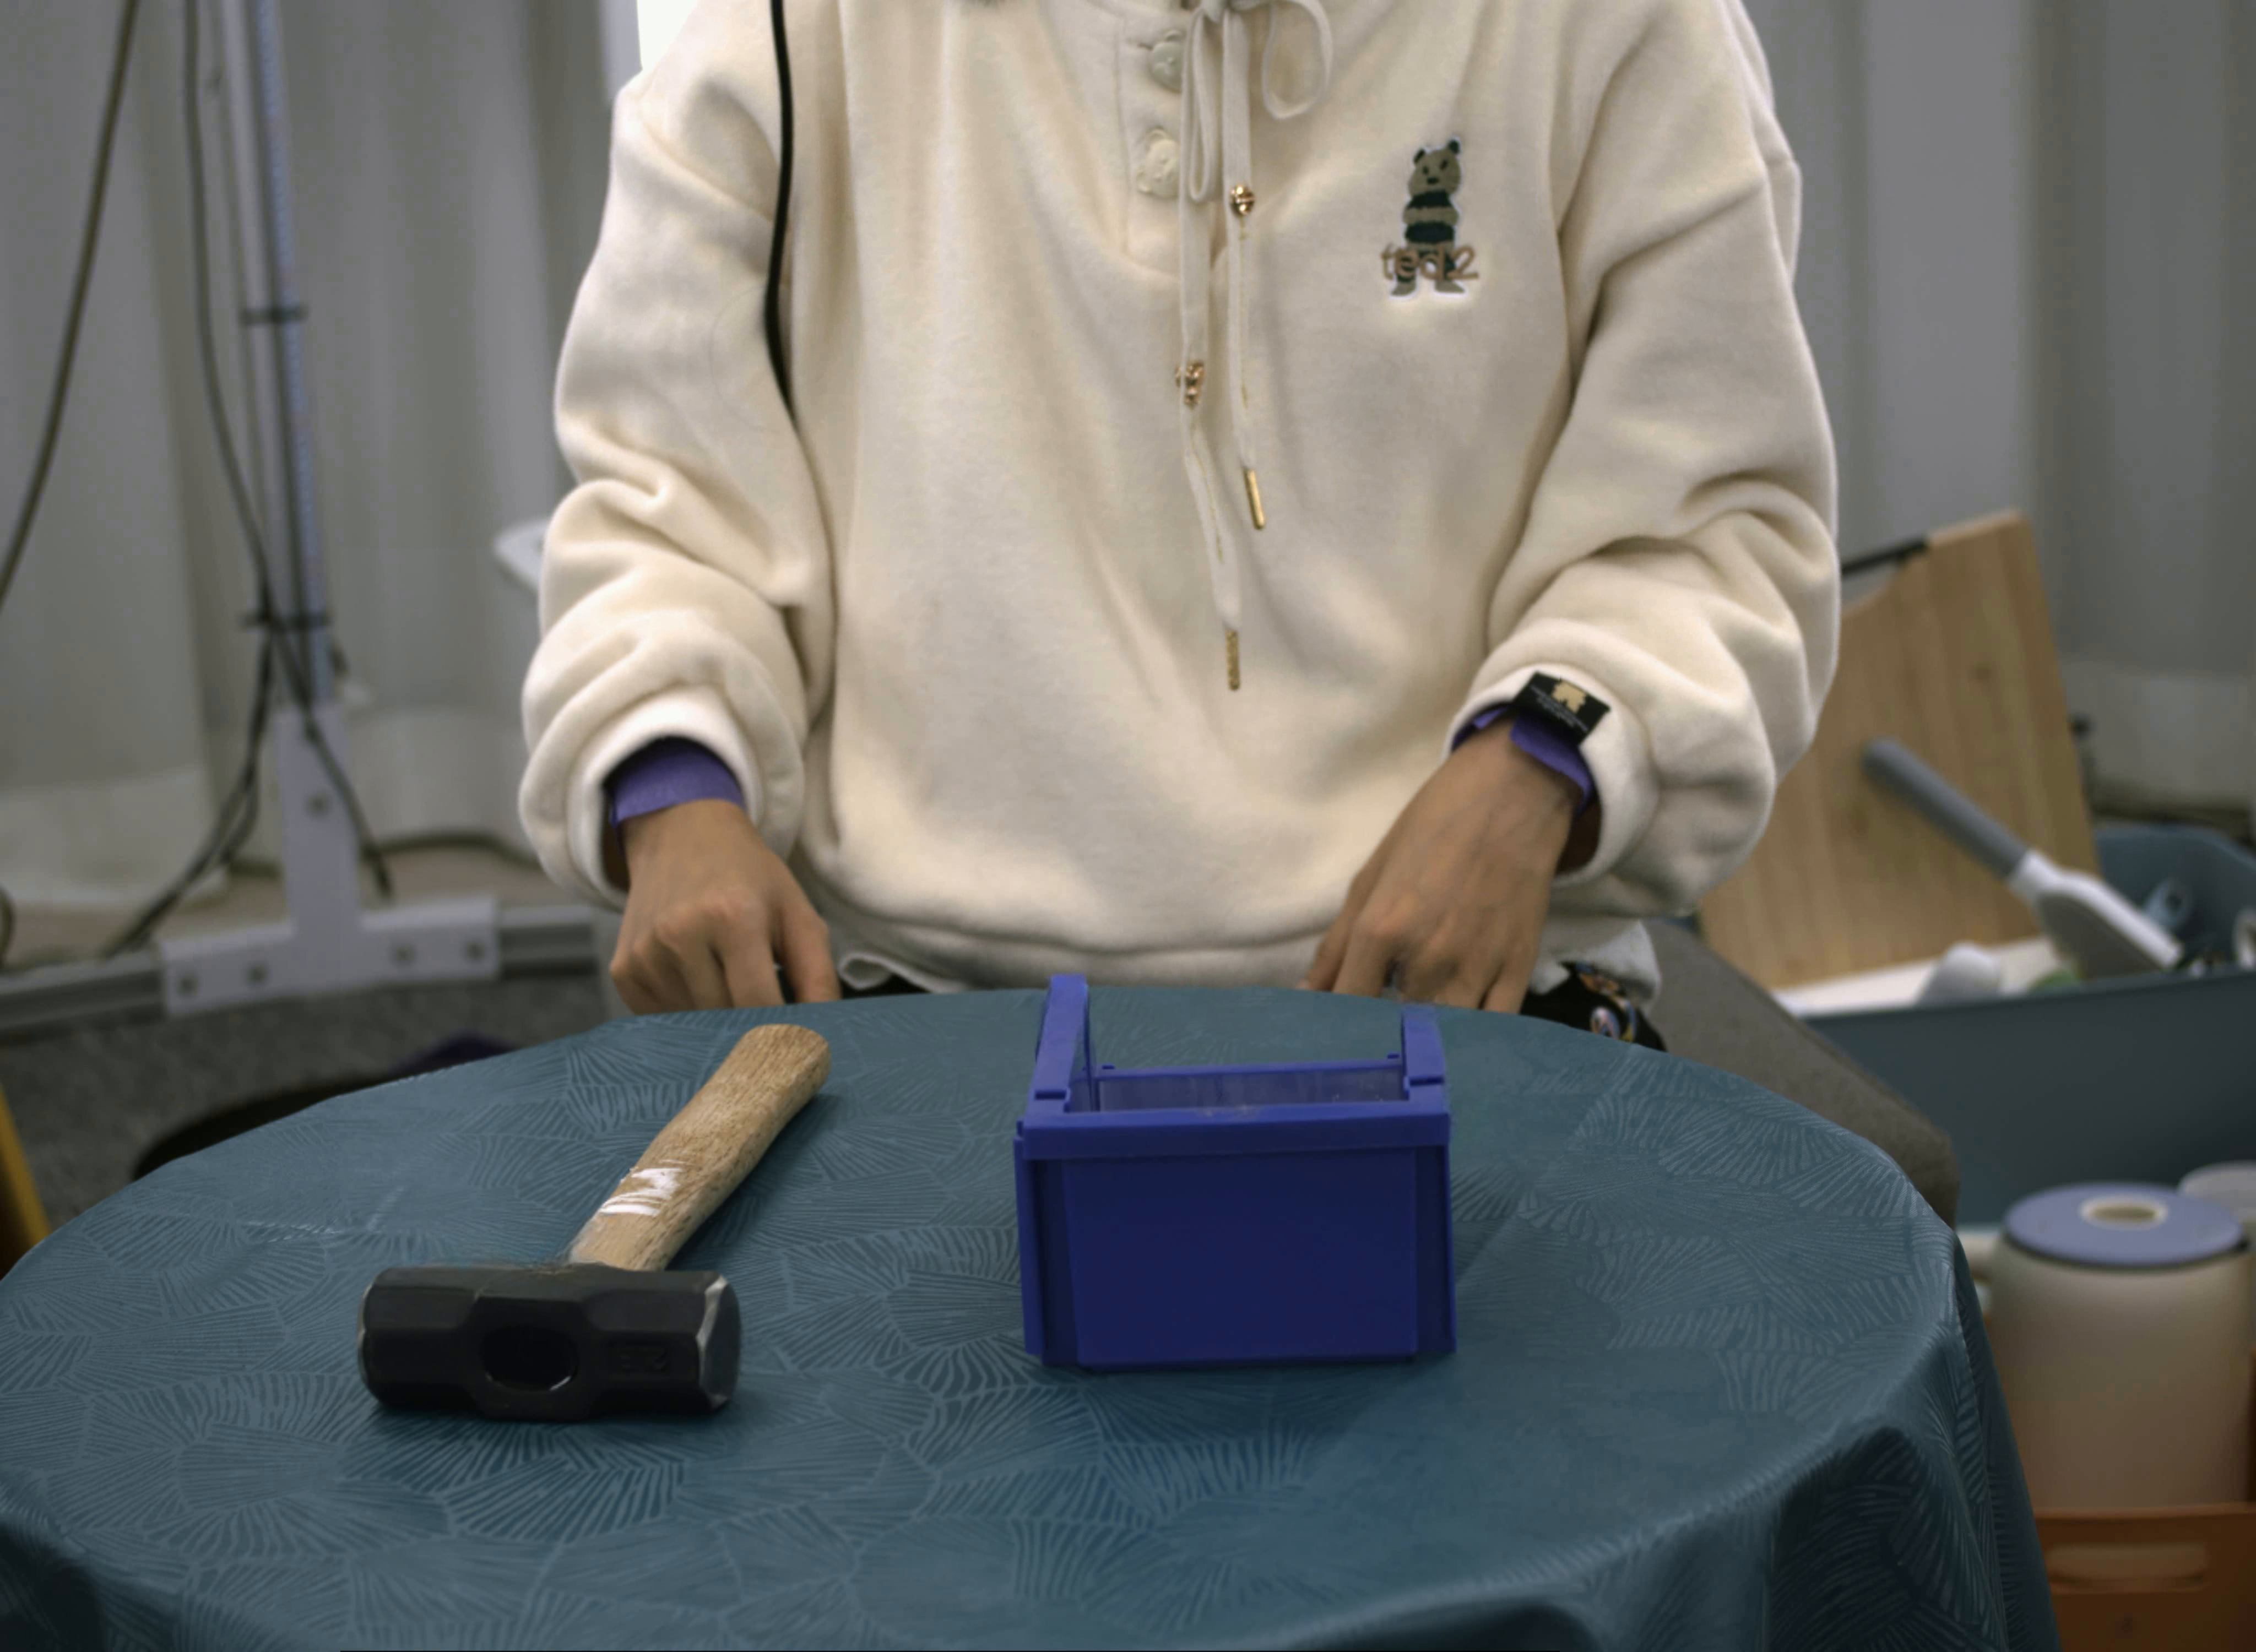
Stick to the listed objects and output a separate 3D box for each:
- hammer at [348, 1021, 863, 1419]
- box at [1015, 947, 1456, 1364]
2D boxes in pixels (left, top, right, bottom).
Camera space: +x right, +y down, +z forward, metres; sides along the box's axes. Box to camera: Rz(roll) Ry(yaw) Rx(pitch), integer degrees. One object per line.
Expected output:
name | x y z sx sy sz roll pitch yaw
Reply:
hammer | -0.137 0.114 1.681 0.107 0.038 0.306 0 14 13
box | 0.034 0.094 1.630 0.124 0.081 0.181 -3 17 4
